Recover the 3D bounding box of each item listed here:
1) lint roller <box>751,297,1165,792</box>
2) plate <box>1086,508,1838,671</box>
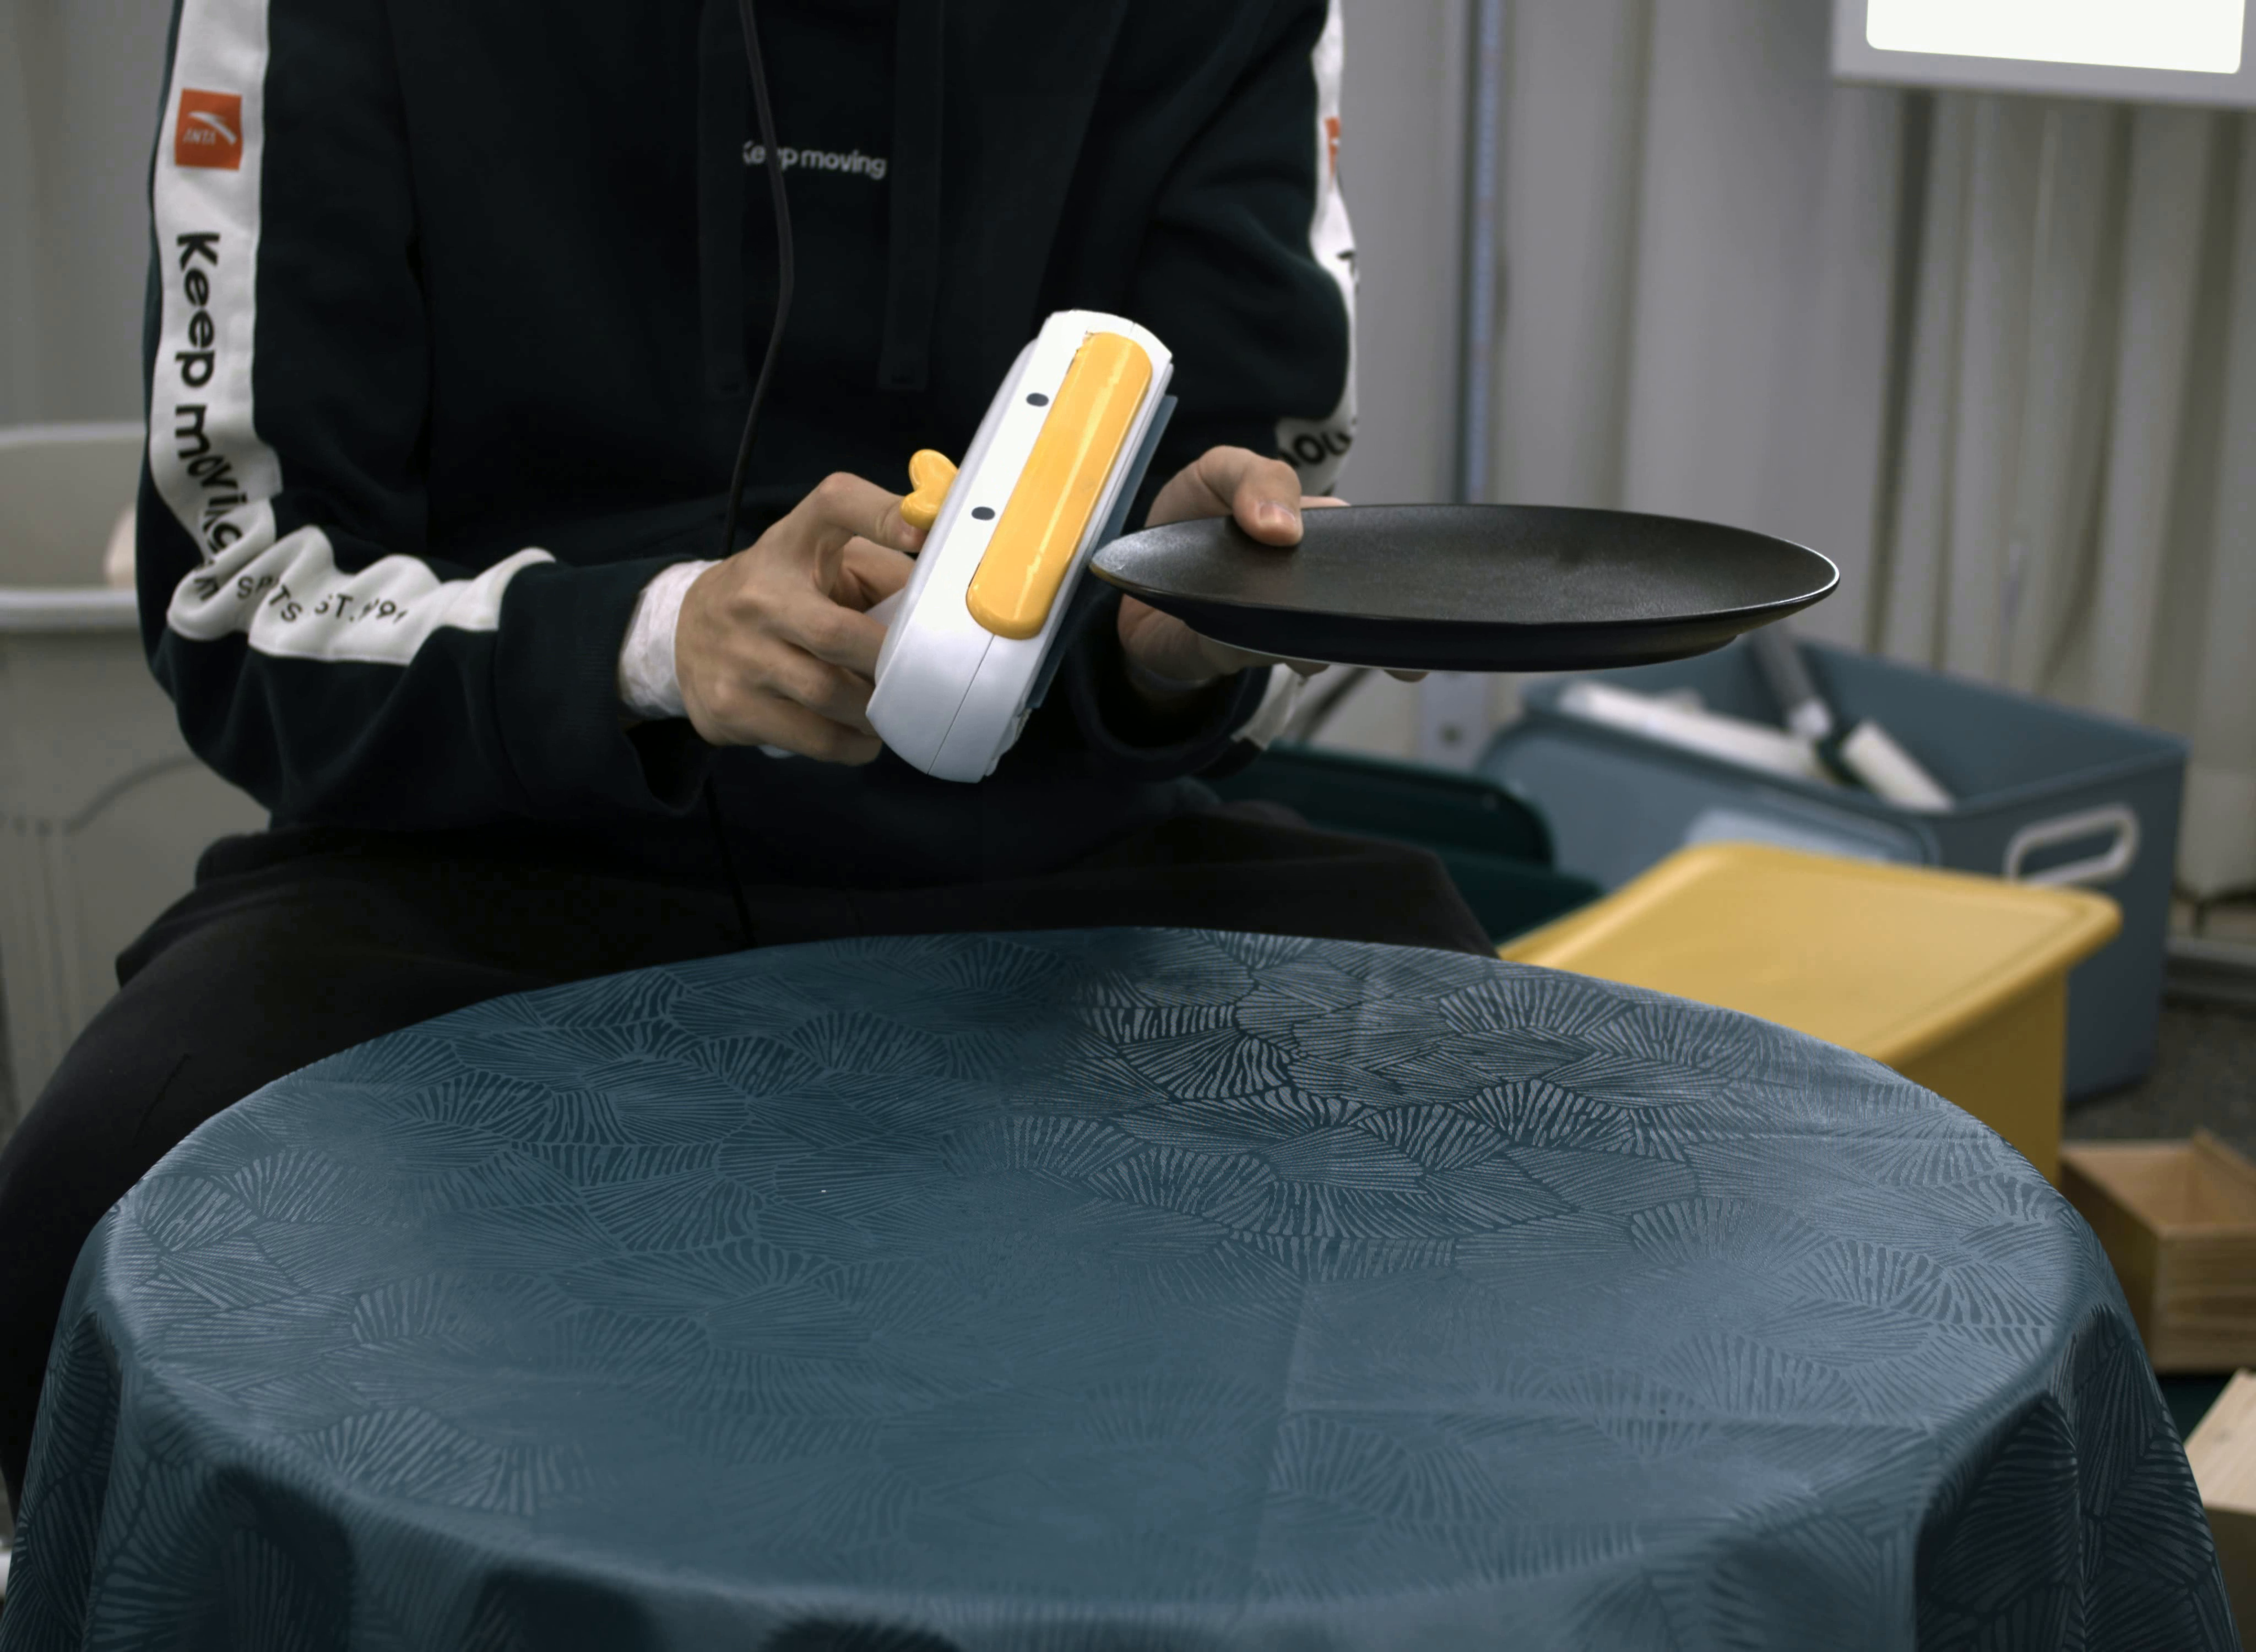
[{"bbox_3d":[-0.065,-0.071,1.796,0.074,0.193,0.191,27,45,-12],"label":"lint roller"},{"bbox_3d":[0.108,-0.076,1.707,0.243,0.023,0.243,1,11,0],"label":"plate"}]
